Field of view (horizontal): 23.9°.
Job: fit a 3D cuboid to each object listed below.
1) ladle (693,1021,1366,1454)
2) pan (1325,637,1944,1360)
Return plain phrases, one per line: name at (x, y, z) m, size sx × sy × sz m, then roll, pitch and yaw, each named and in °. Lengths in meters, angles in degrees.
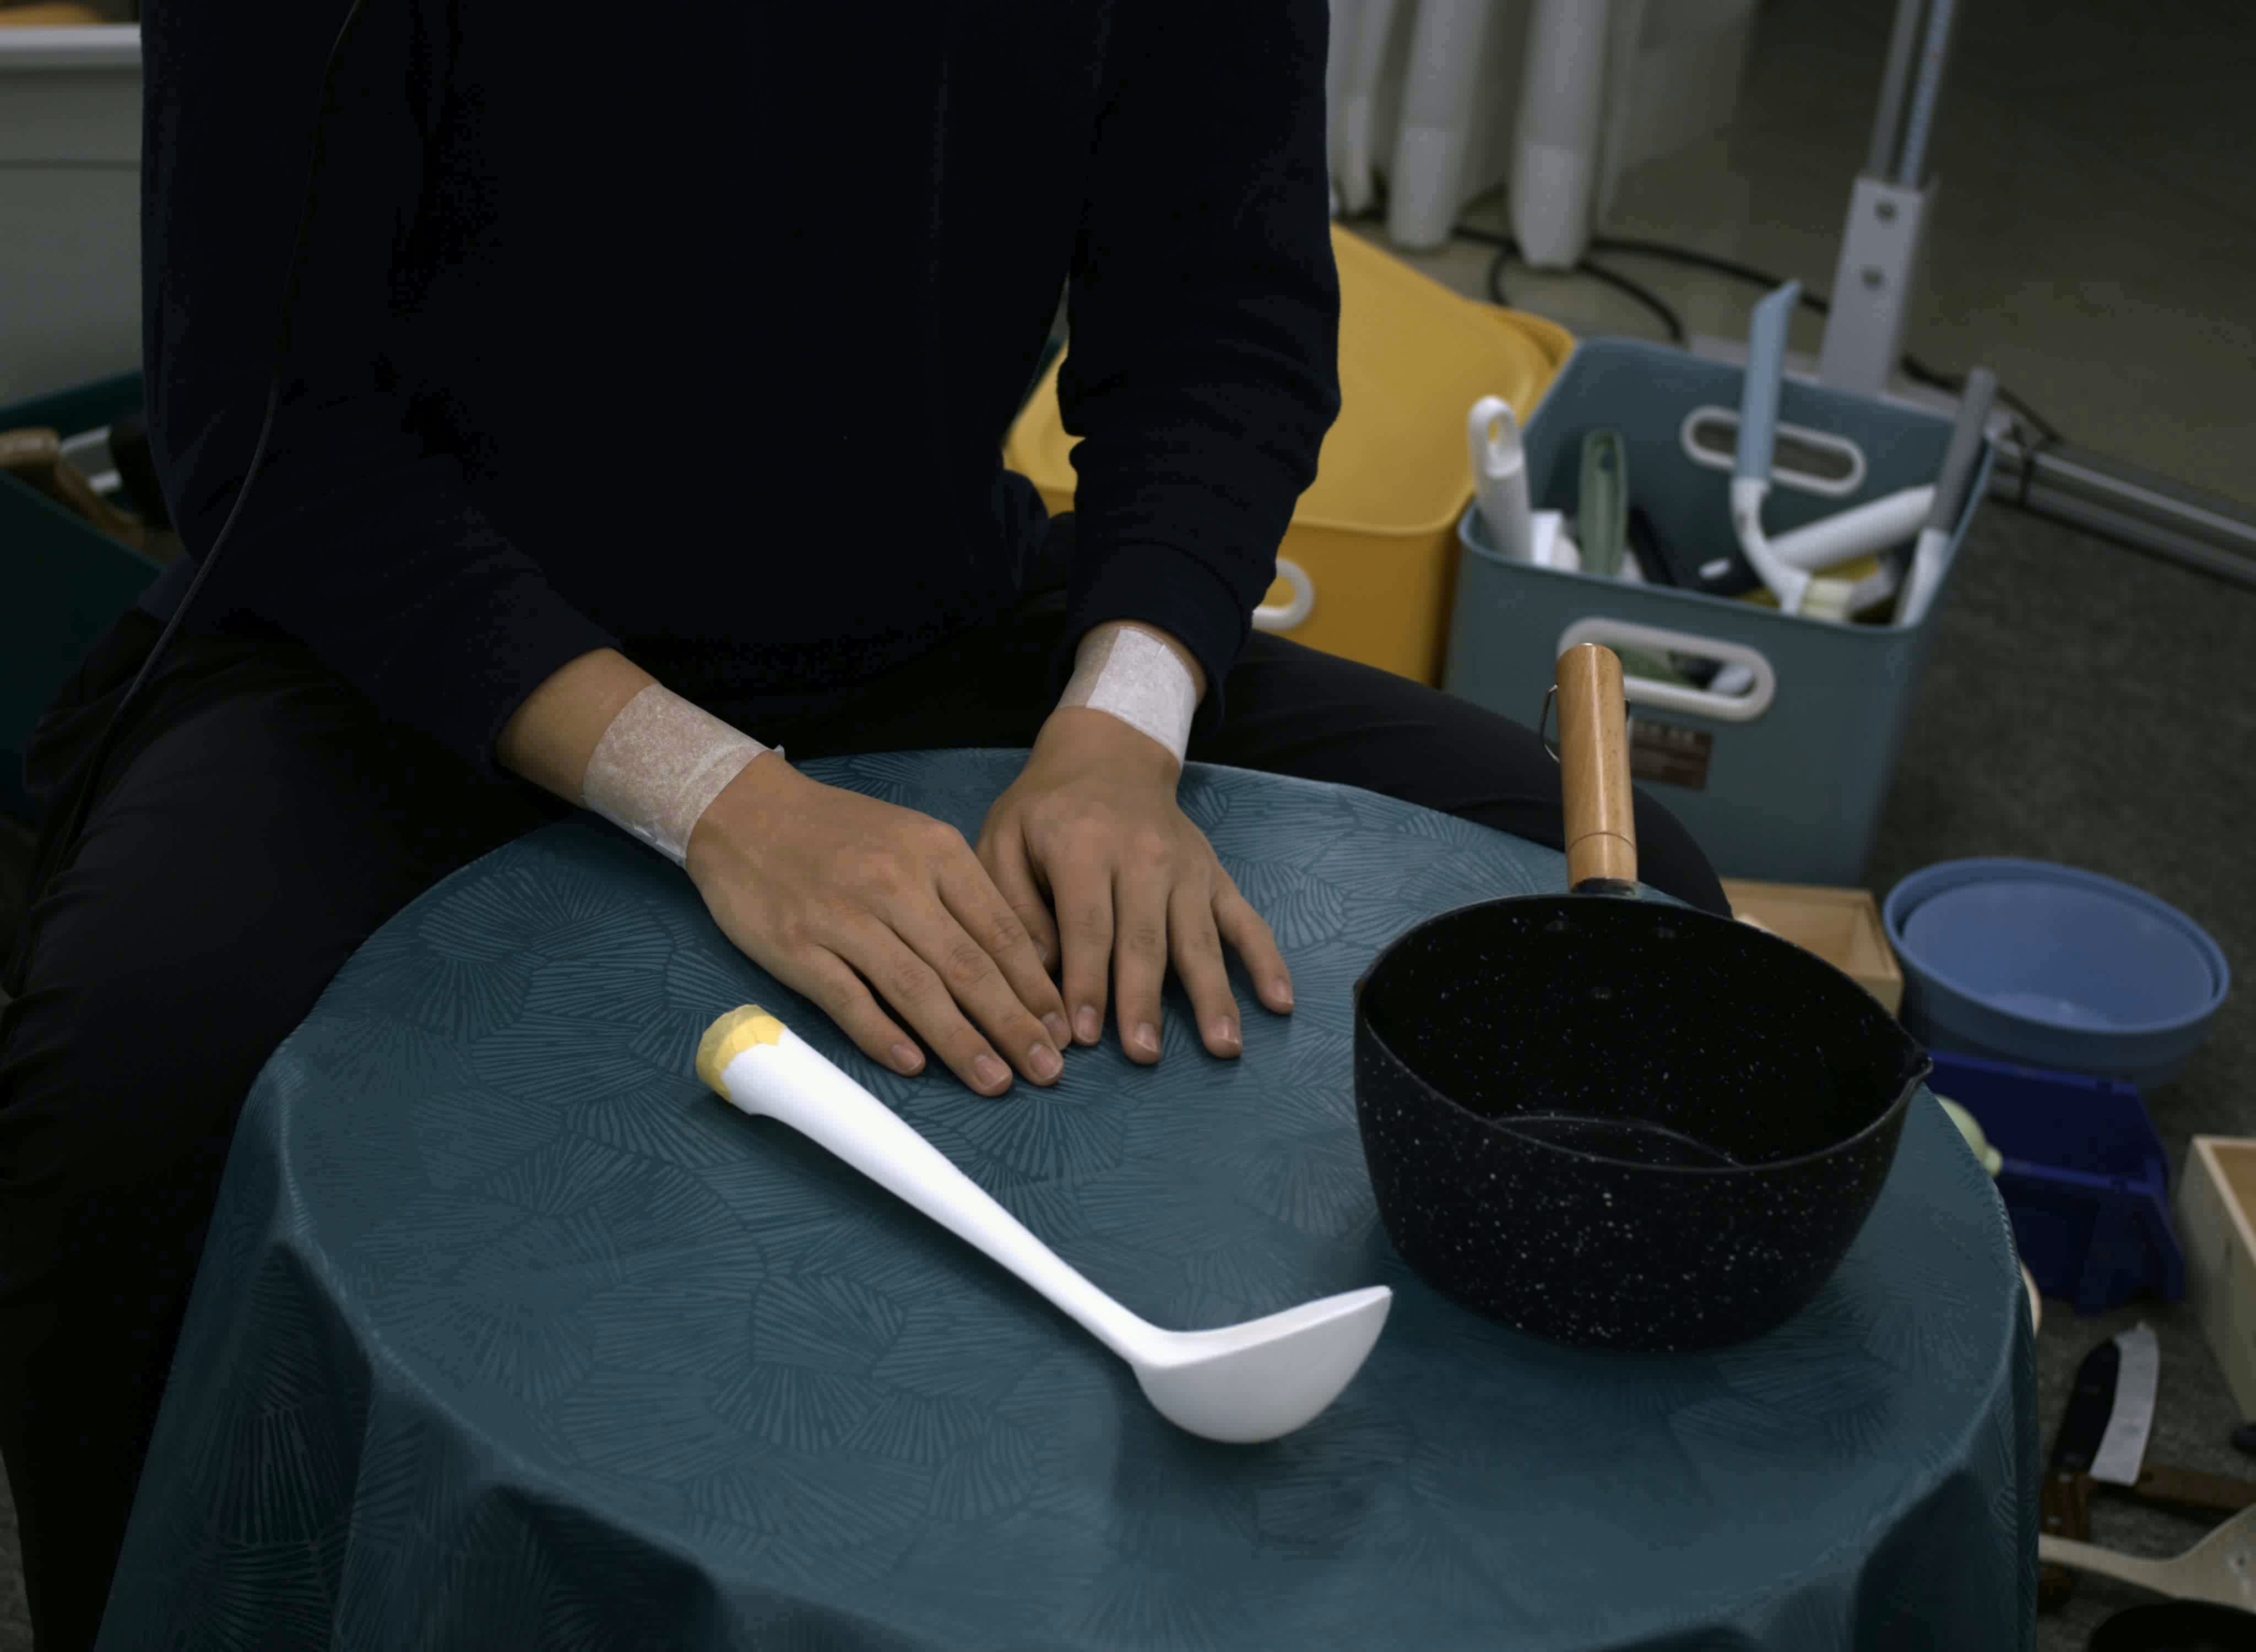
ladle at (-0.042, 0.122, 1.727) m, size 0.090 × 0.069 × 0.295 m, roll -23°, pitch 38°, yaw -34°
pan at (0.165, 0.056, 1.853) m, size 0.207 × 0.108 × 0.345 m, roll 4°, pitch 28°, yaw -3°
